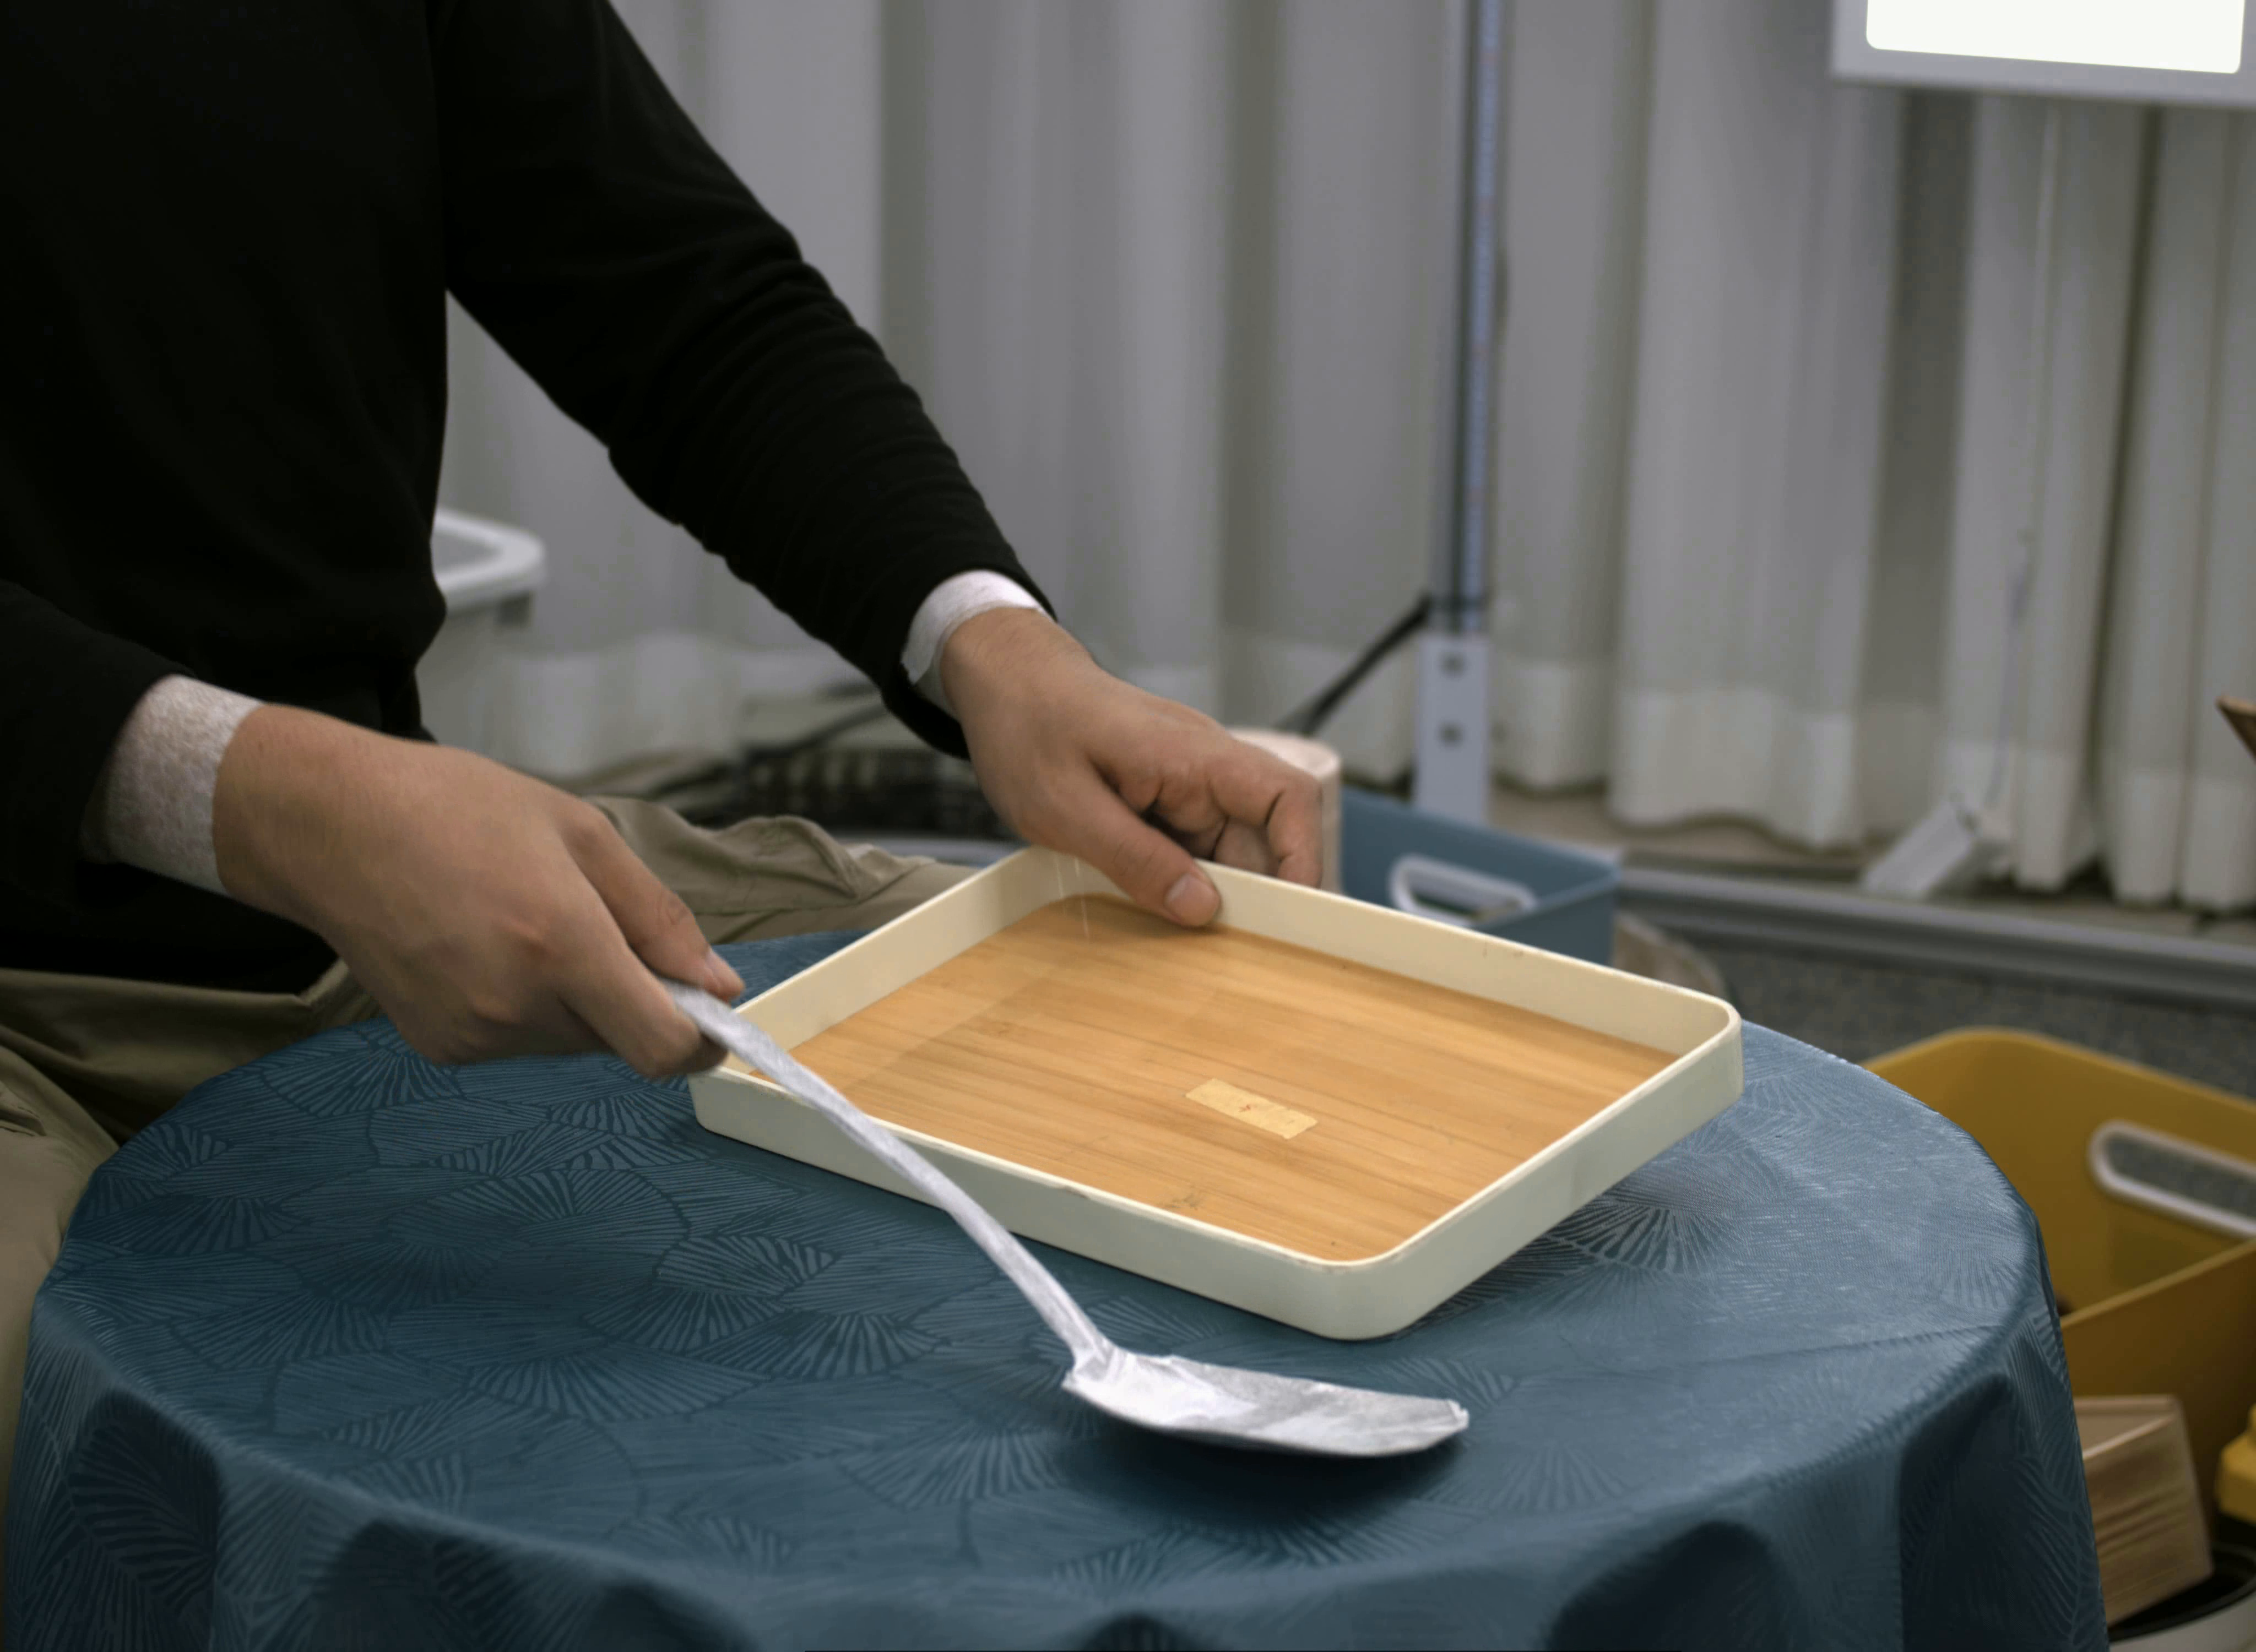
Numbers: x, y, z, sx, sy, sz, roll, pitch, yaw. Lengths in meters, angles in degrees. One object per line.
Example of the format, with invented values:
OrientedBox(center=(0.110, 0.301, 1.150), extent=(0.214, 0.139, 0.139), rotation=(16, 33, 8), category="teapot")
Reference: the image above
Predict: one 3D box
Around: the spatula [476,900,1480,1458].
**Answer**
OrientedBox(center=(-0.061, 0.092, 1.478), extent=(0.360, 0.045, 0.099), rotation=(34, 20, 28), category="spatula")

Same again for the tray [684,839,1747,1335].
OrientedBox(center=(0.024, 0.075, 1.640), extent=(0.296, 0.028, 0.192), rotation=(15, 32, 41), category="tray")
